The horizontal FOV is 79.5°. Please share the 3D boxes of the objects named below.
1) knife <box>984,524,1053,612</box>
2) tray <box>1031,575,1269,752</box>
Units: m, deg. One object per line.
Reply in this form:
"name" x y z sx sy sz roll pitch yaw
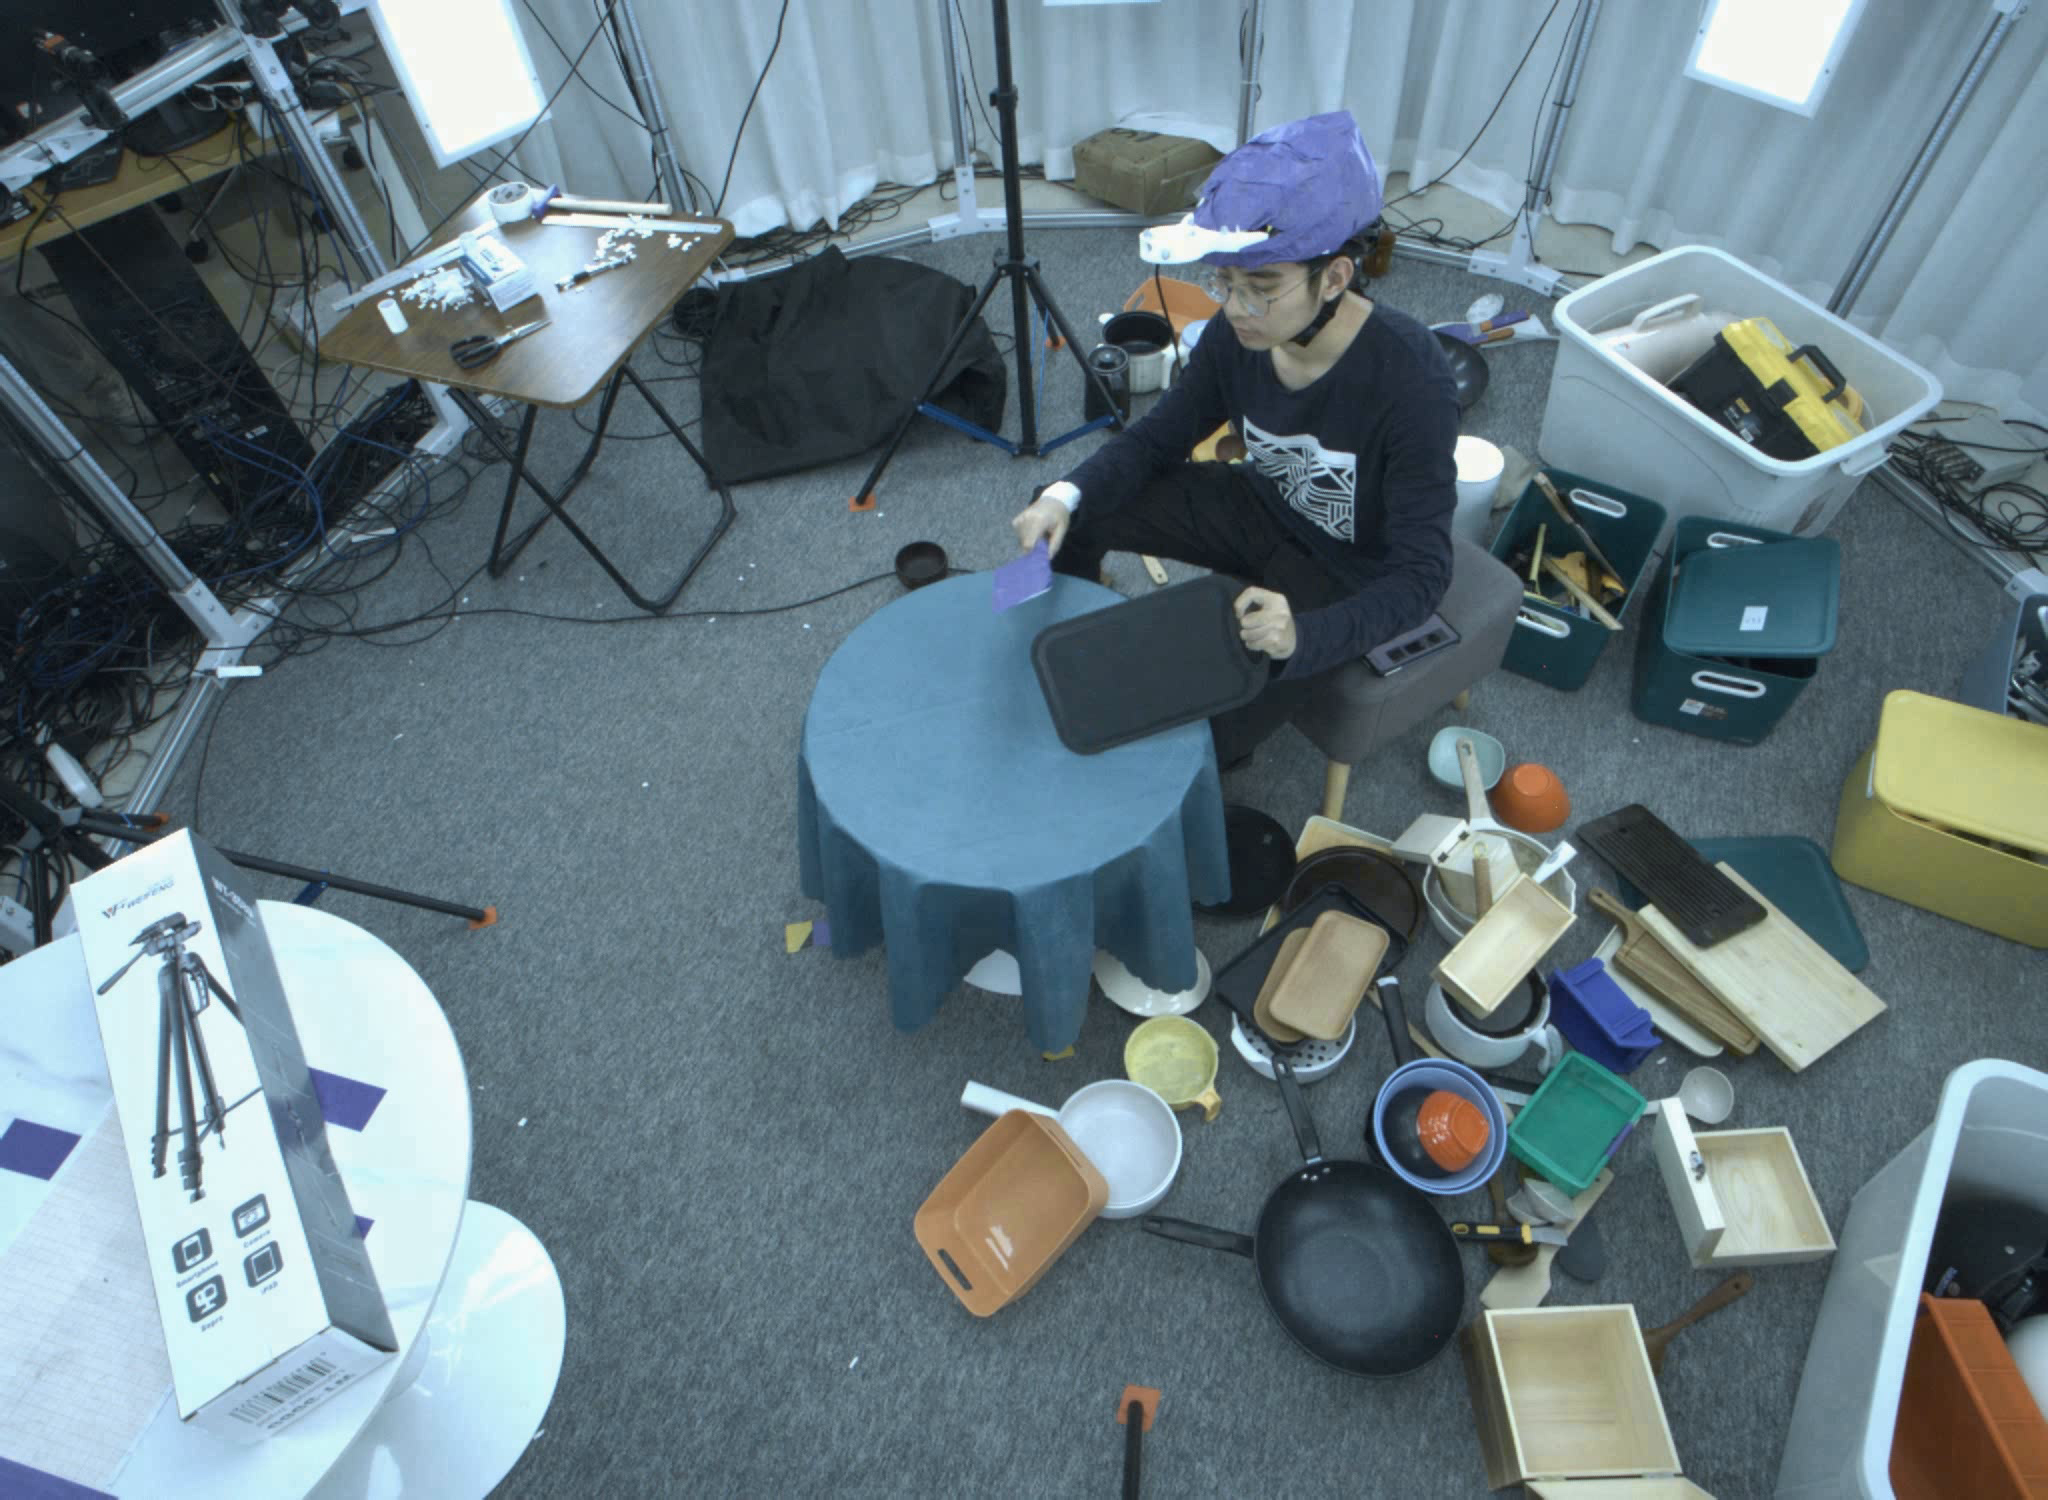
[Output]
"knife" -0.009 -0.273 1.816 0.103 0.032 0.312 -21 23 9
"tray" 0.183 -0.121 1.730 0.324 0.214 0.009 -17 28 4
